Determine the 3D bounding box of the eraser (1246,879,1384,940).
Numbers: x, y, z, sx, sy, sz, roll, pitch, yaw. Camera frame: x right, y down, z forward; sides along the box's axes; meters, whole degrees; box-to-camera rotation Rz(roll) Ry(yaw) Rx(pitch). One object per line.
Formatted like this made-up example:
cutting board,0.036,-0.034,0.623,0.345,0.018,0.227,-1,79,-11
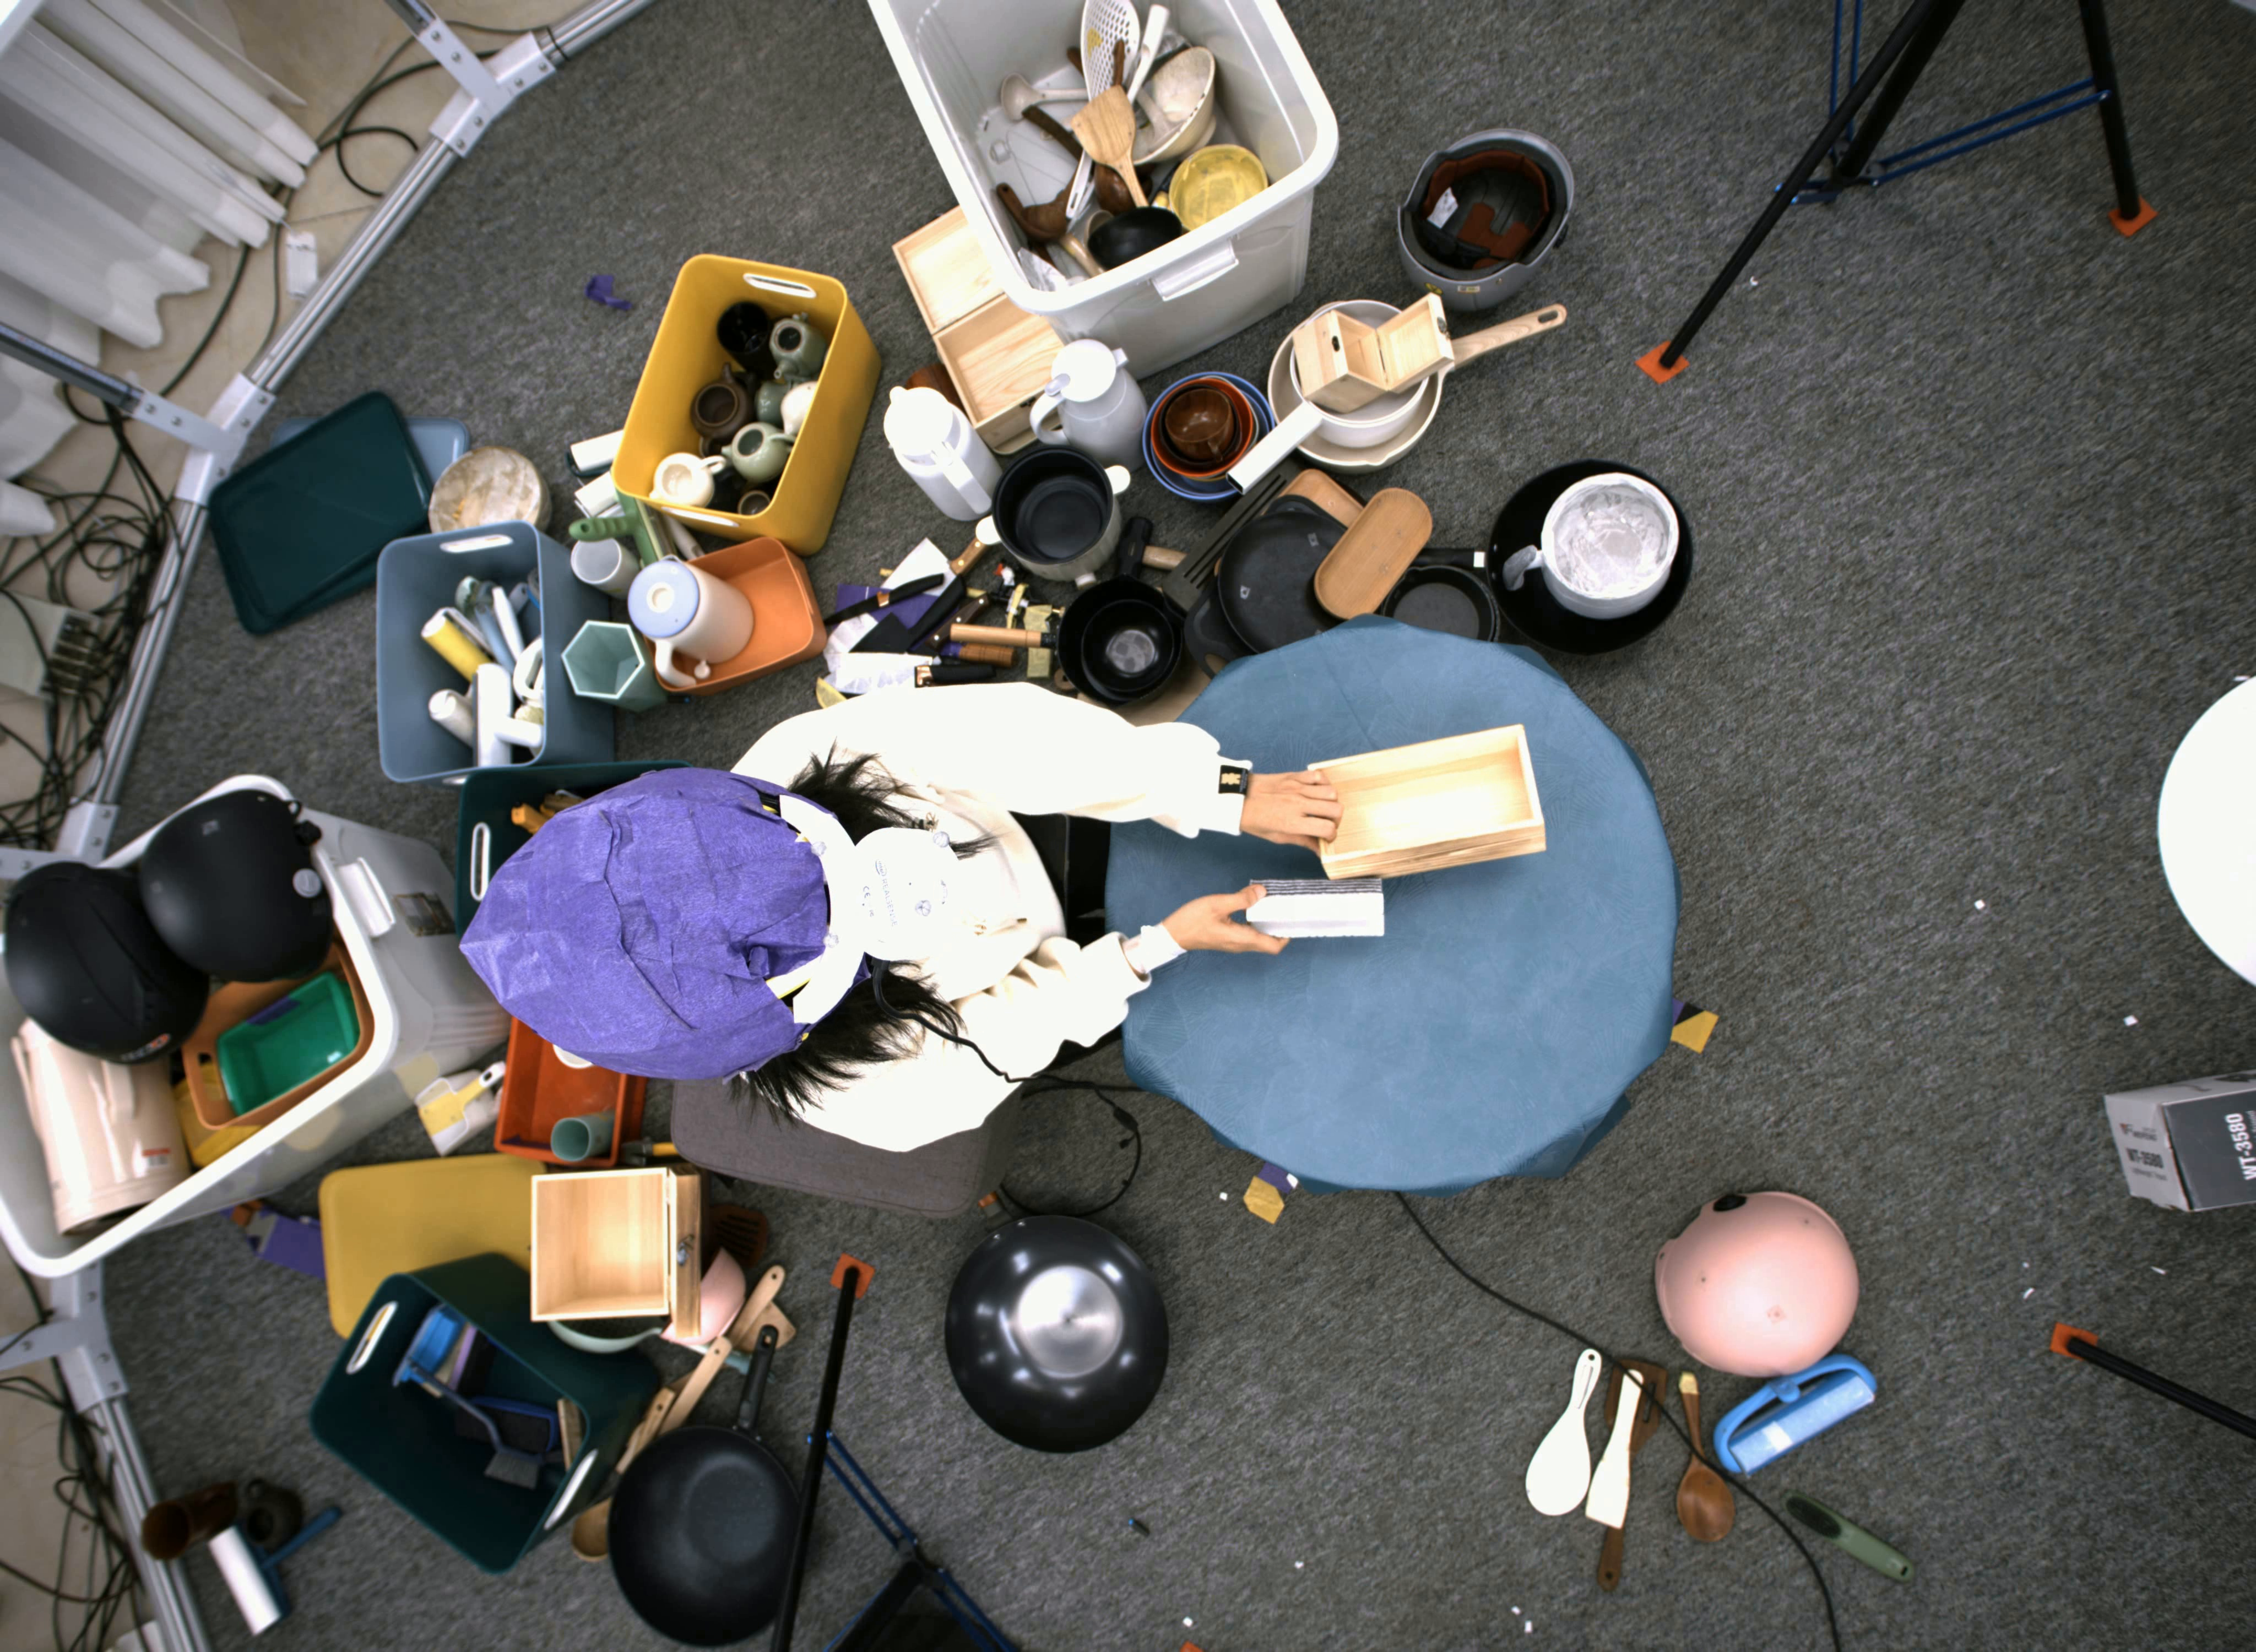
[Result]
eraser,0.188,0.083,1.389,0.135,0.050,0.045,-4,61,13

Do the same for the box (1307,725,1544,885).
box,0.293,-0.019,1.355,0.213,0.081,0.105,-11,68,13
